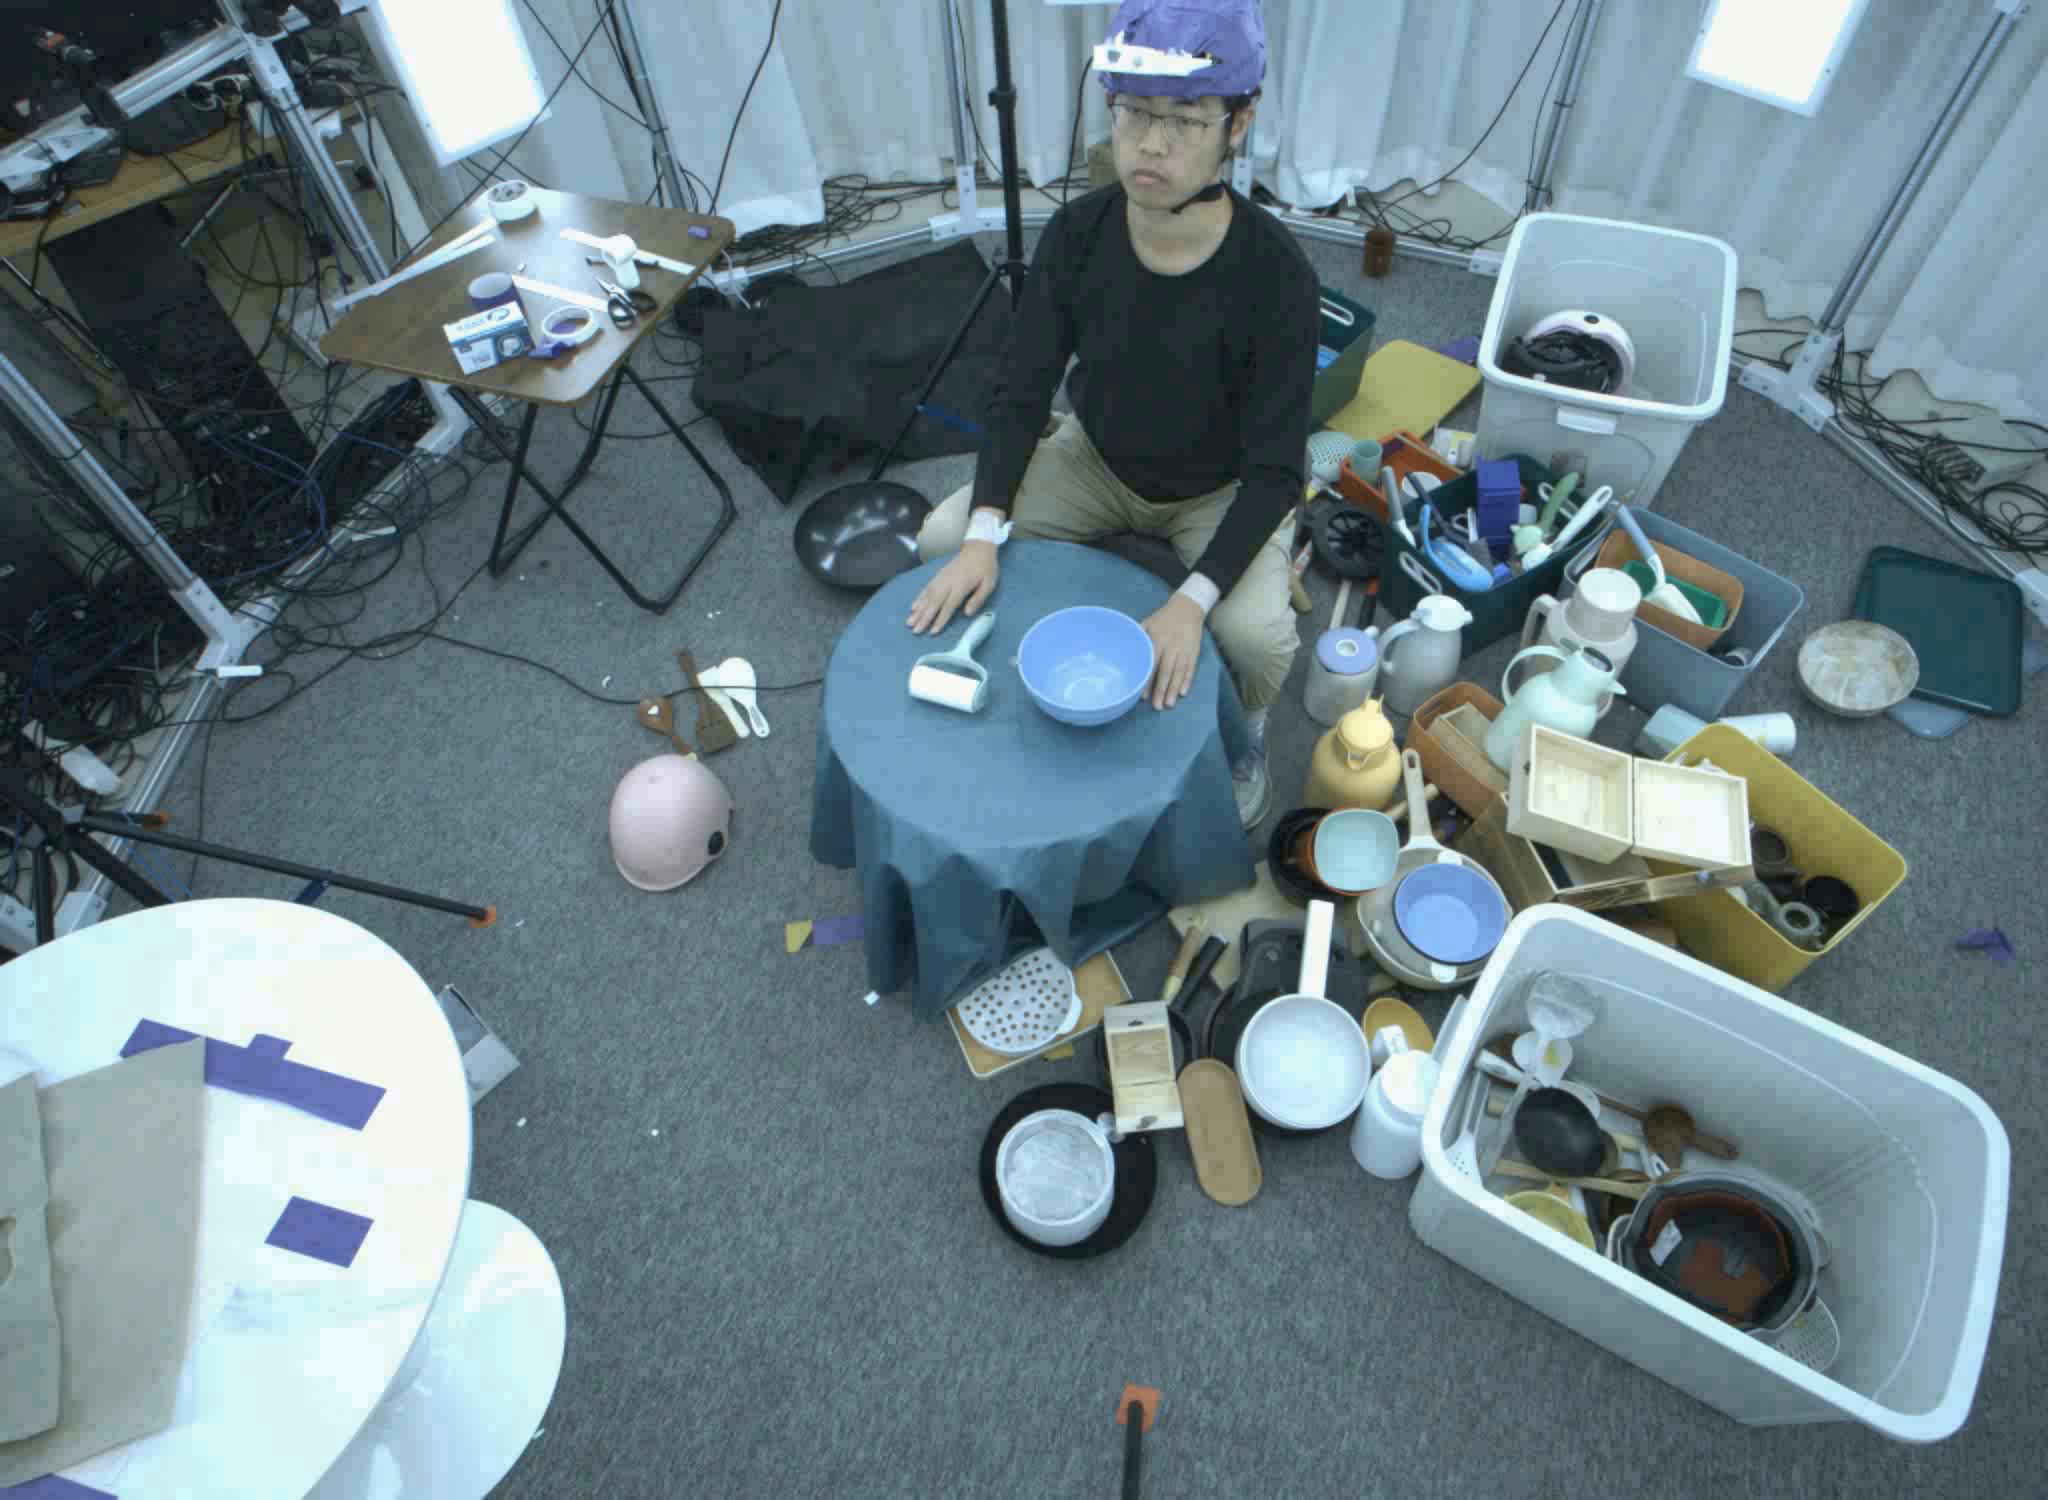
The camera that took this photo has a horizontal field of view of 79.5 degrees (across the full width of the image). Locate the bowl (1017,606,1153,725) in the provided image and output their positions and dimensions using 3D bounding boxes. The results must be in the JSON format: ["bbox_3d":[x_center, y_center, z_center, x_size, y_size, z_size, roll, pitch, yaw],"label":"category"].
[{"bbox_3d":[0.091,-0.109,1.802,0.196,0.096,0.194,-1,54,3],"label":"bowl"}]

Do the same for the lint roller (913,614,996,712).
[{"bbox_3d":[-0.082,-0.145,1.866,0.115,0.049,0.197,15,56,14],"label":"lint roller"}]
